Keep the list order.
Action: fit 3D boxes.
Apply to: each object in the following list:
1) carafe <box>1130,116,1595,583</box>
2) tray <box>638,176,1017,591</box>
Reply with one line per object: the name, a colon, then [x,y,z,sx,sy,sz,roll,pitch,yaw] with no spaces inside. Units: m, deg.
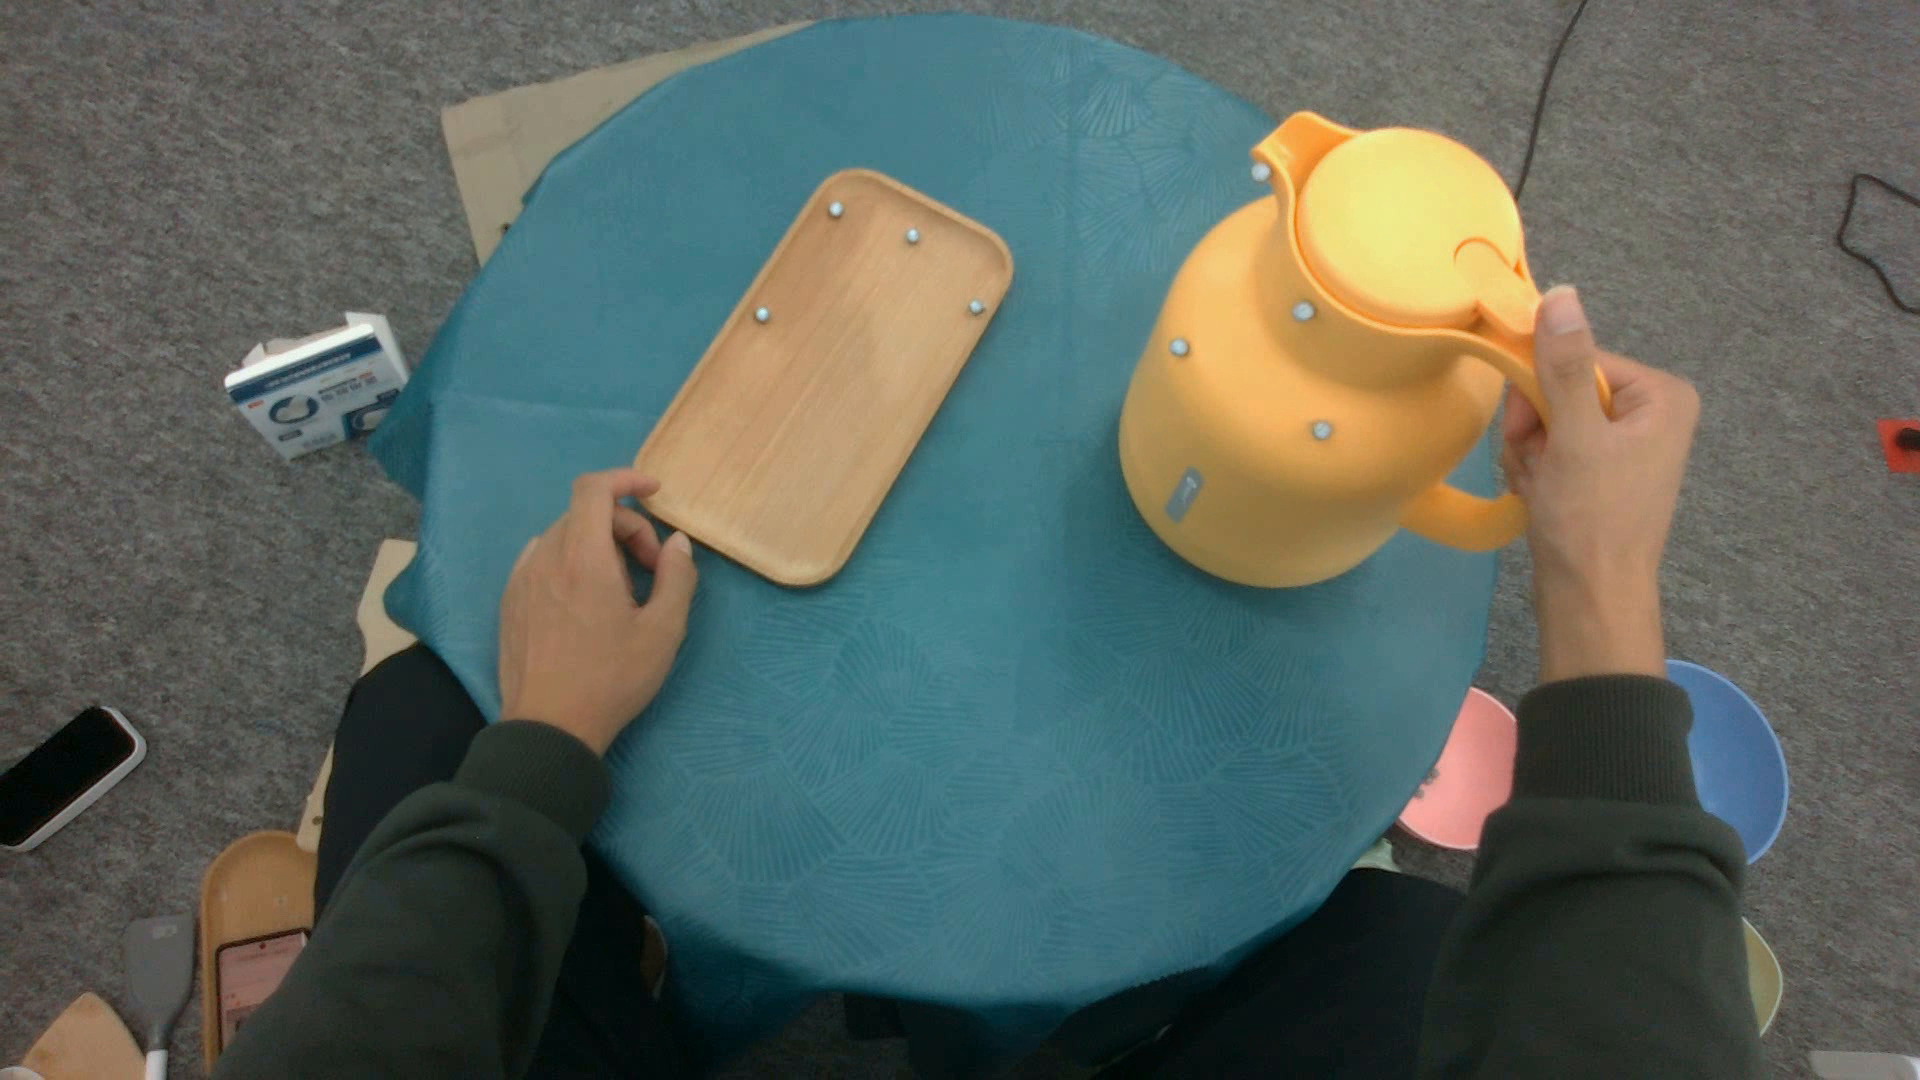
carafe: [0.188,-0.074,0.670,0.164,0.259,0.202,-40,74,-13]
tray: [-0.071,-0.094,0.786,0.130,0.023,0.251,28,71,7]
